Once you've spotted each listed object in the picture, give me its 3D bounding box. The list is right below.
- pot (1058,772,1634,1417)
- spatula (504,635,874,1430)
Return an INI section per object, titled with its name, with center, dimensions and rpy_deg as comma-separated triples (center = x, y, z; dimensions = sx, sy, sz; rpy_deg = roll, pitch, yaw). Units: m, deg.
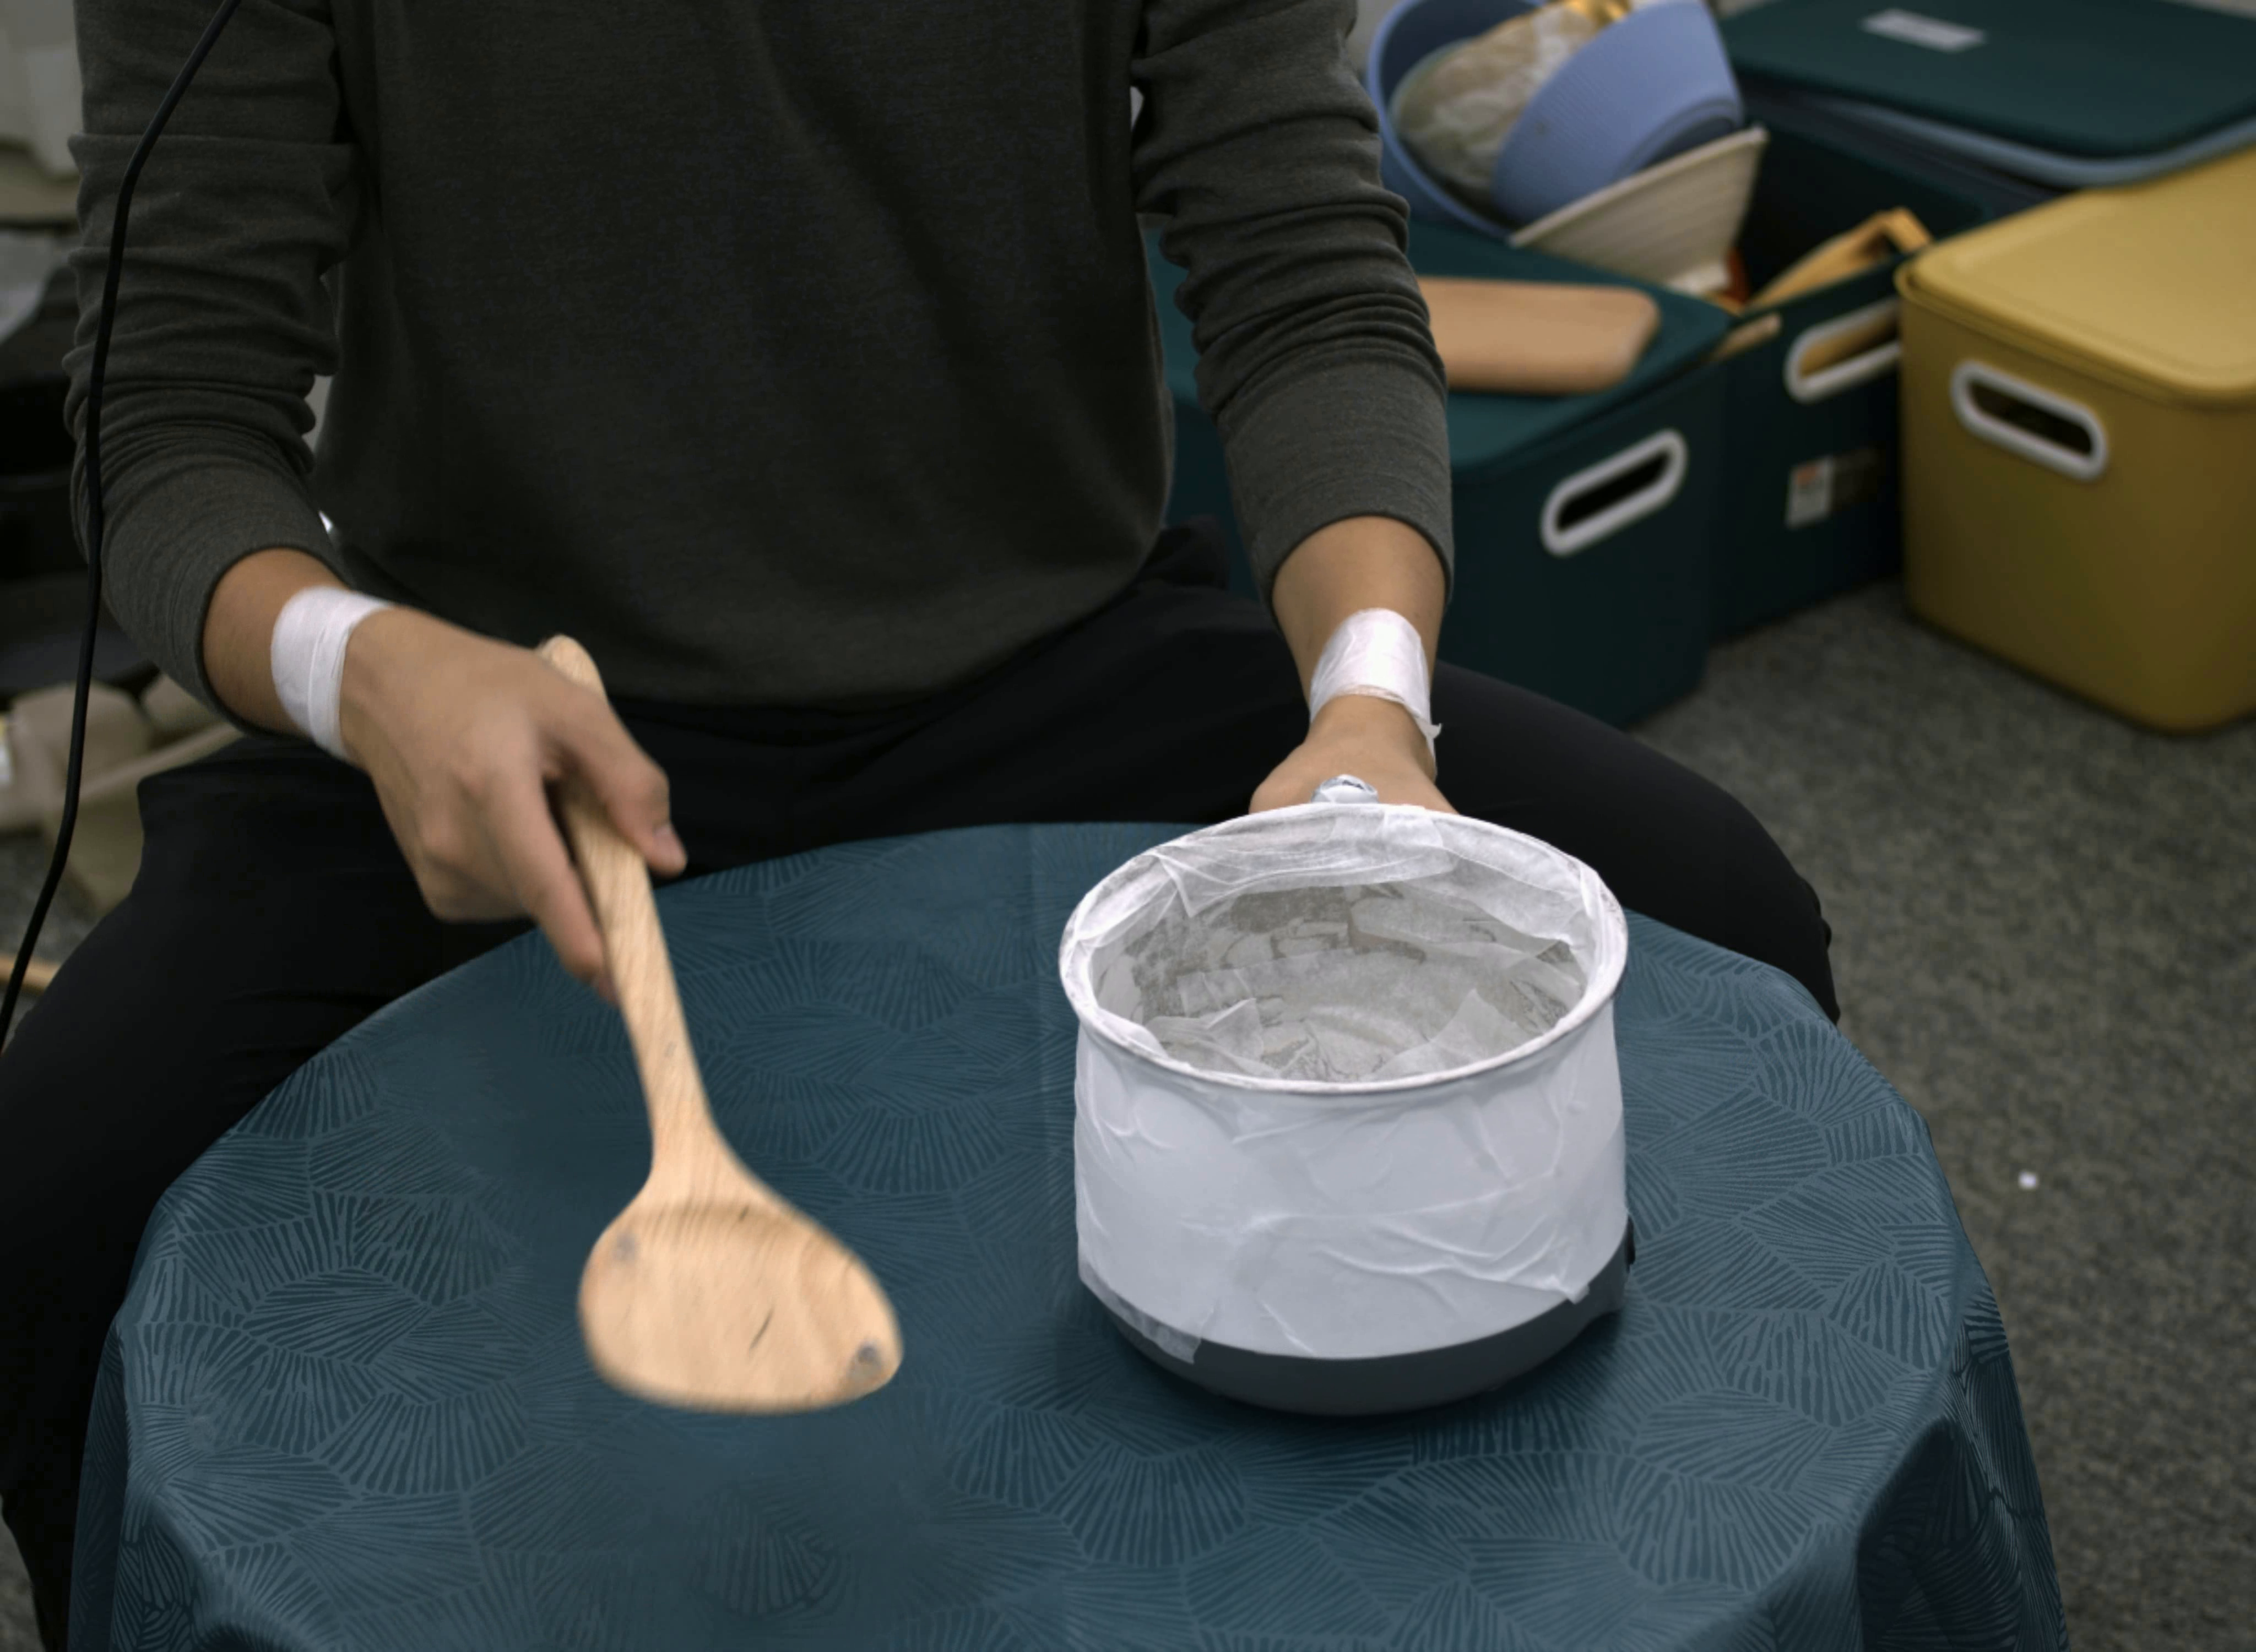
[pot]
center = 0.070, 0.078, 1.791
dimensions = 0.178, 0.135, 0.237
rpy_deg = -1, 28, 2
[spatula]
center = -0.159, 0.056, 1.758
dimensions = 0.096, 0.018, 0.397
rpy_deg = 3, 37, -19
